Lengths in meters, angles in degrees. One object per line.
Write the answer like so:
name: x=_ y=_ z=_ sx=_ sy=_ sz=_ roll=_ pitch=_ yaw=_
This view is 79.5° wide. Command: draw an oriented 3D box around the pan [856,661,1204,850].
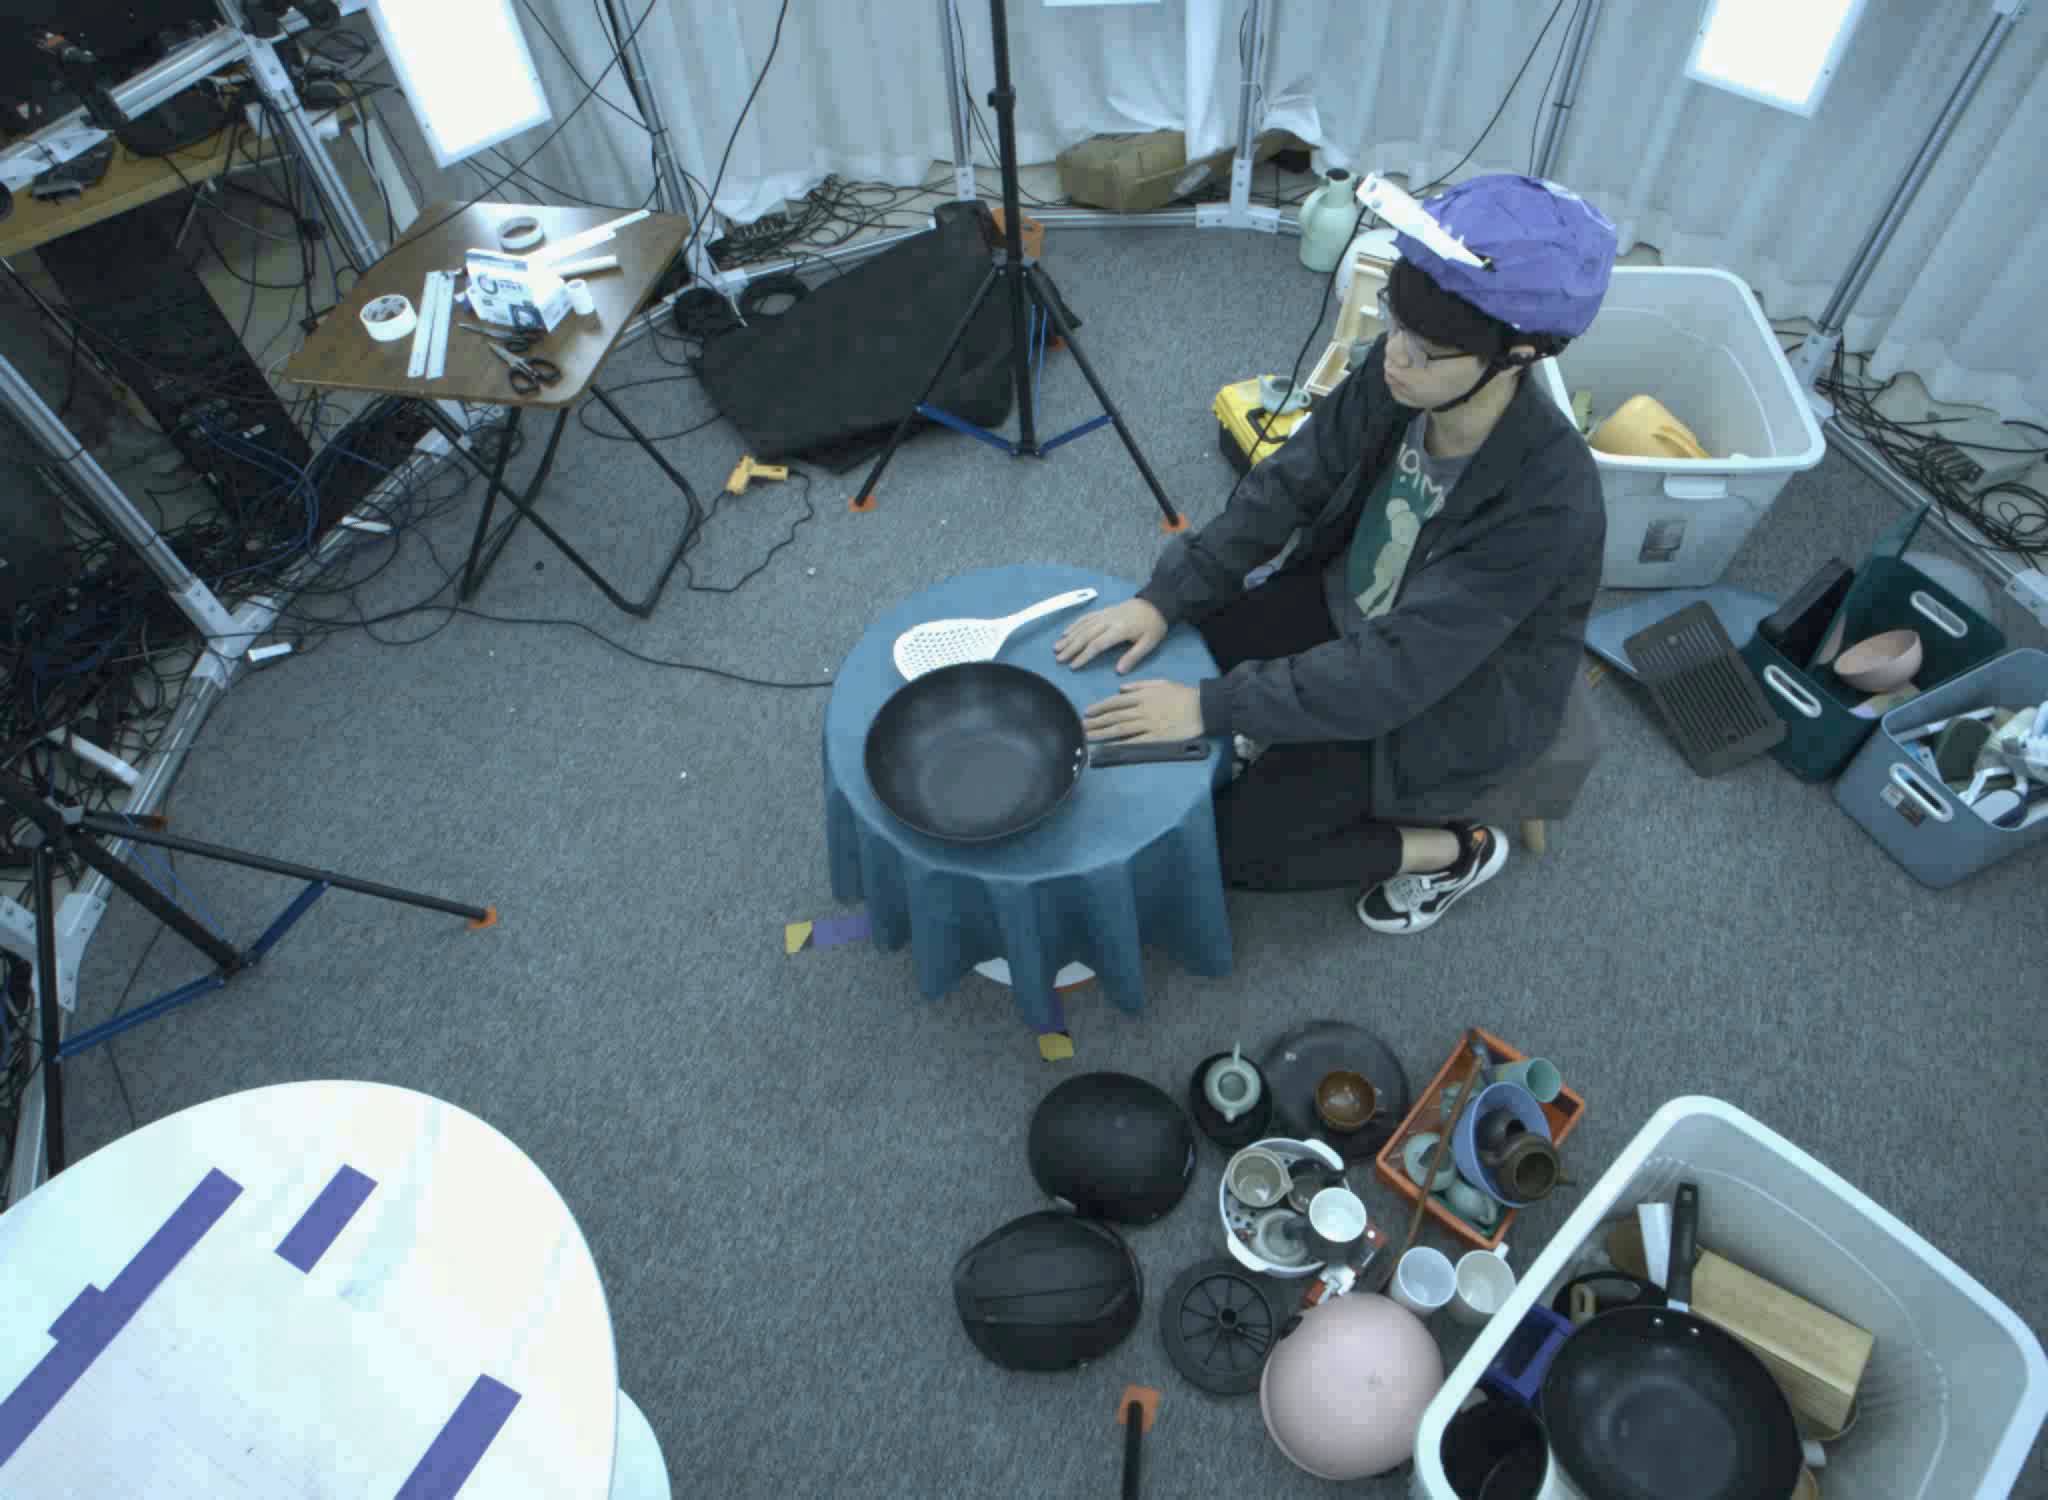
pan: x=0.007 y=0.019 z=1.700 sx=0.475 sy=0.113 sz=0.308 roll=3 pitch=56 yaw=5

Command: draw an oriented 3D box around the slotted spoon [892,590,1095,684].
slotted spoon: x=-0.035 y=-0.183 z=1.886 sx=0.351 sy=0.051 sz=0.134 roll=-27 pitch=56 yaw=-17
